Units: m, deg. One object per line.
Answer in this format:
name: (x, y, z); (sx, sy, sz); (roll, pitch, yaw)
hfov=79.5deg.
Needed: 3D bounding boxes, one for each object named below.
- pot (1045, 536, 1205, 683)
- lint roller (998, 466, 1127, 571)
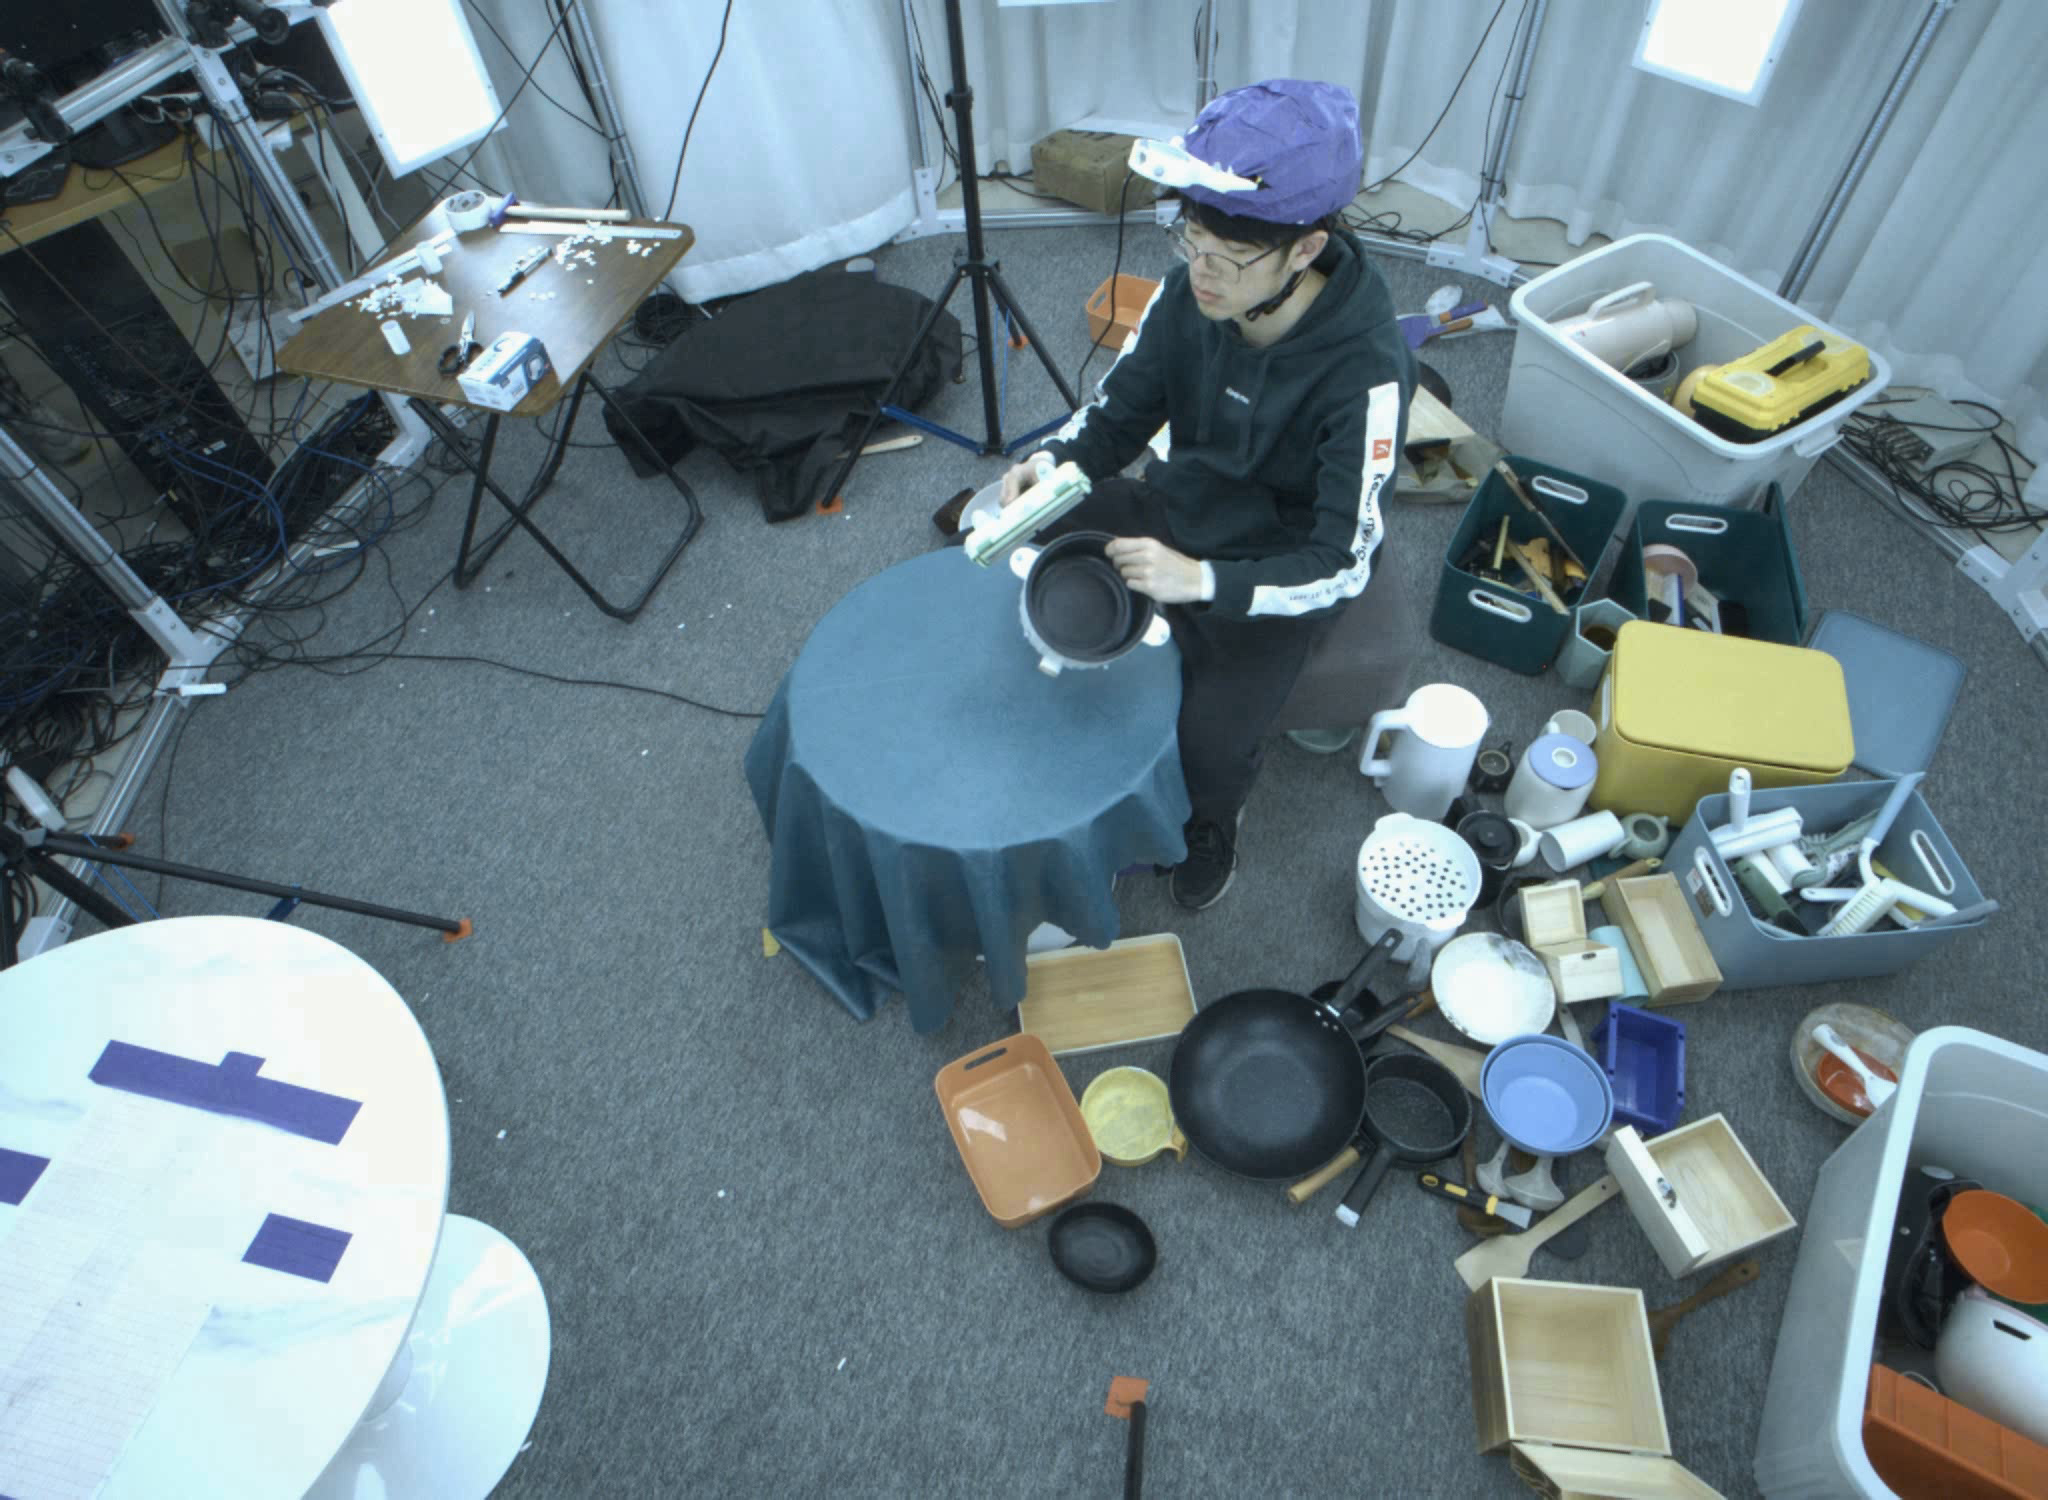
pot: (0.128, -0.189, 1.714); (0.241, 0.142, 0.190); (28, 81, -4)
lint roller: (0.049, -0.358, 1.757); (0.197, 0.083, 0.181); (-32, 27, 18)
